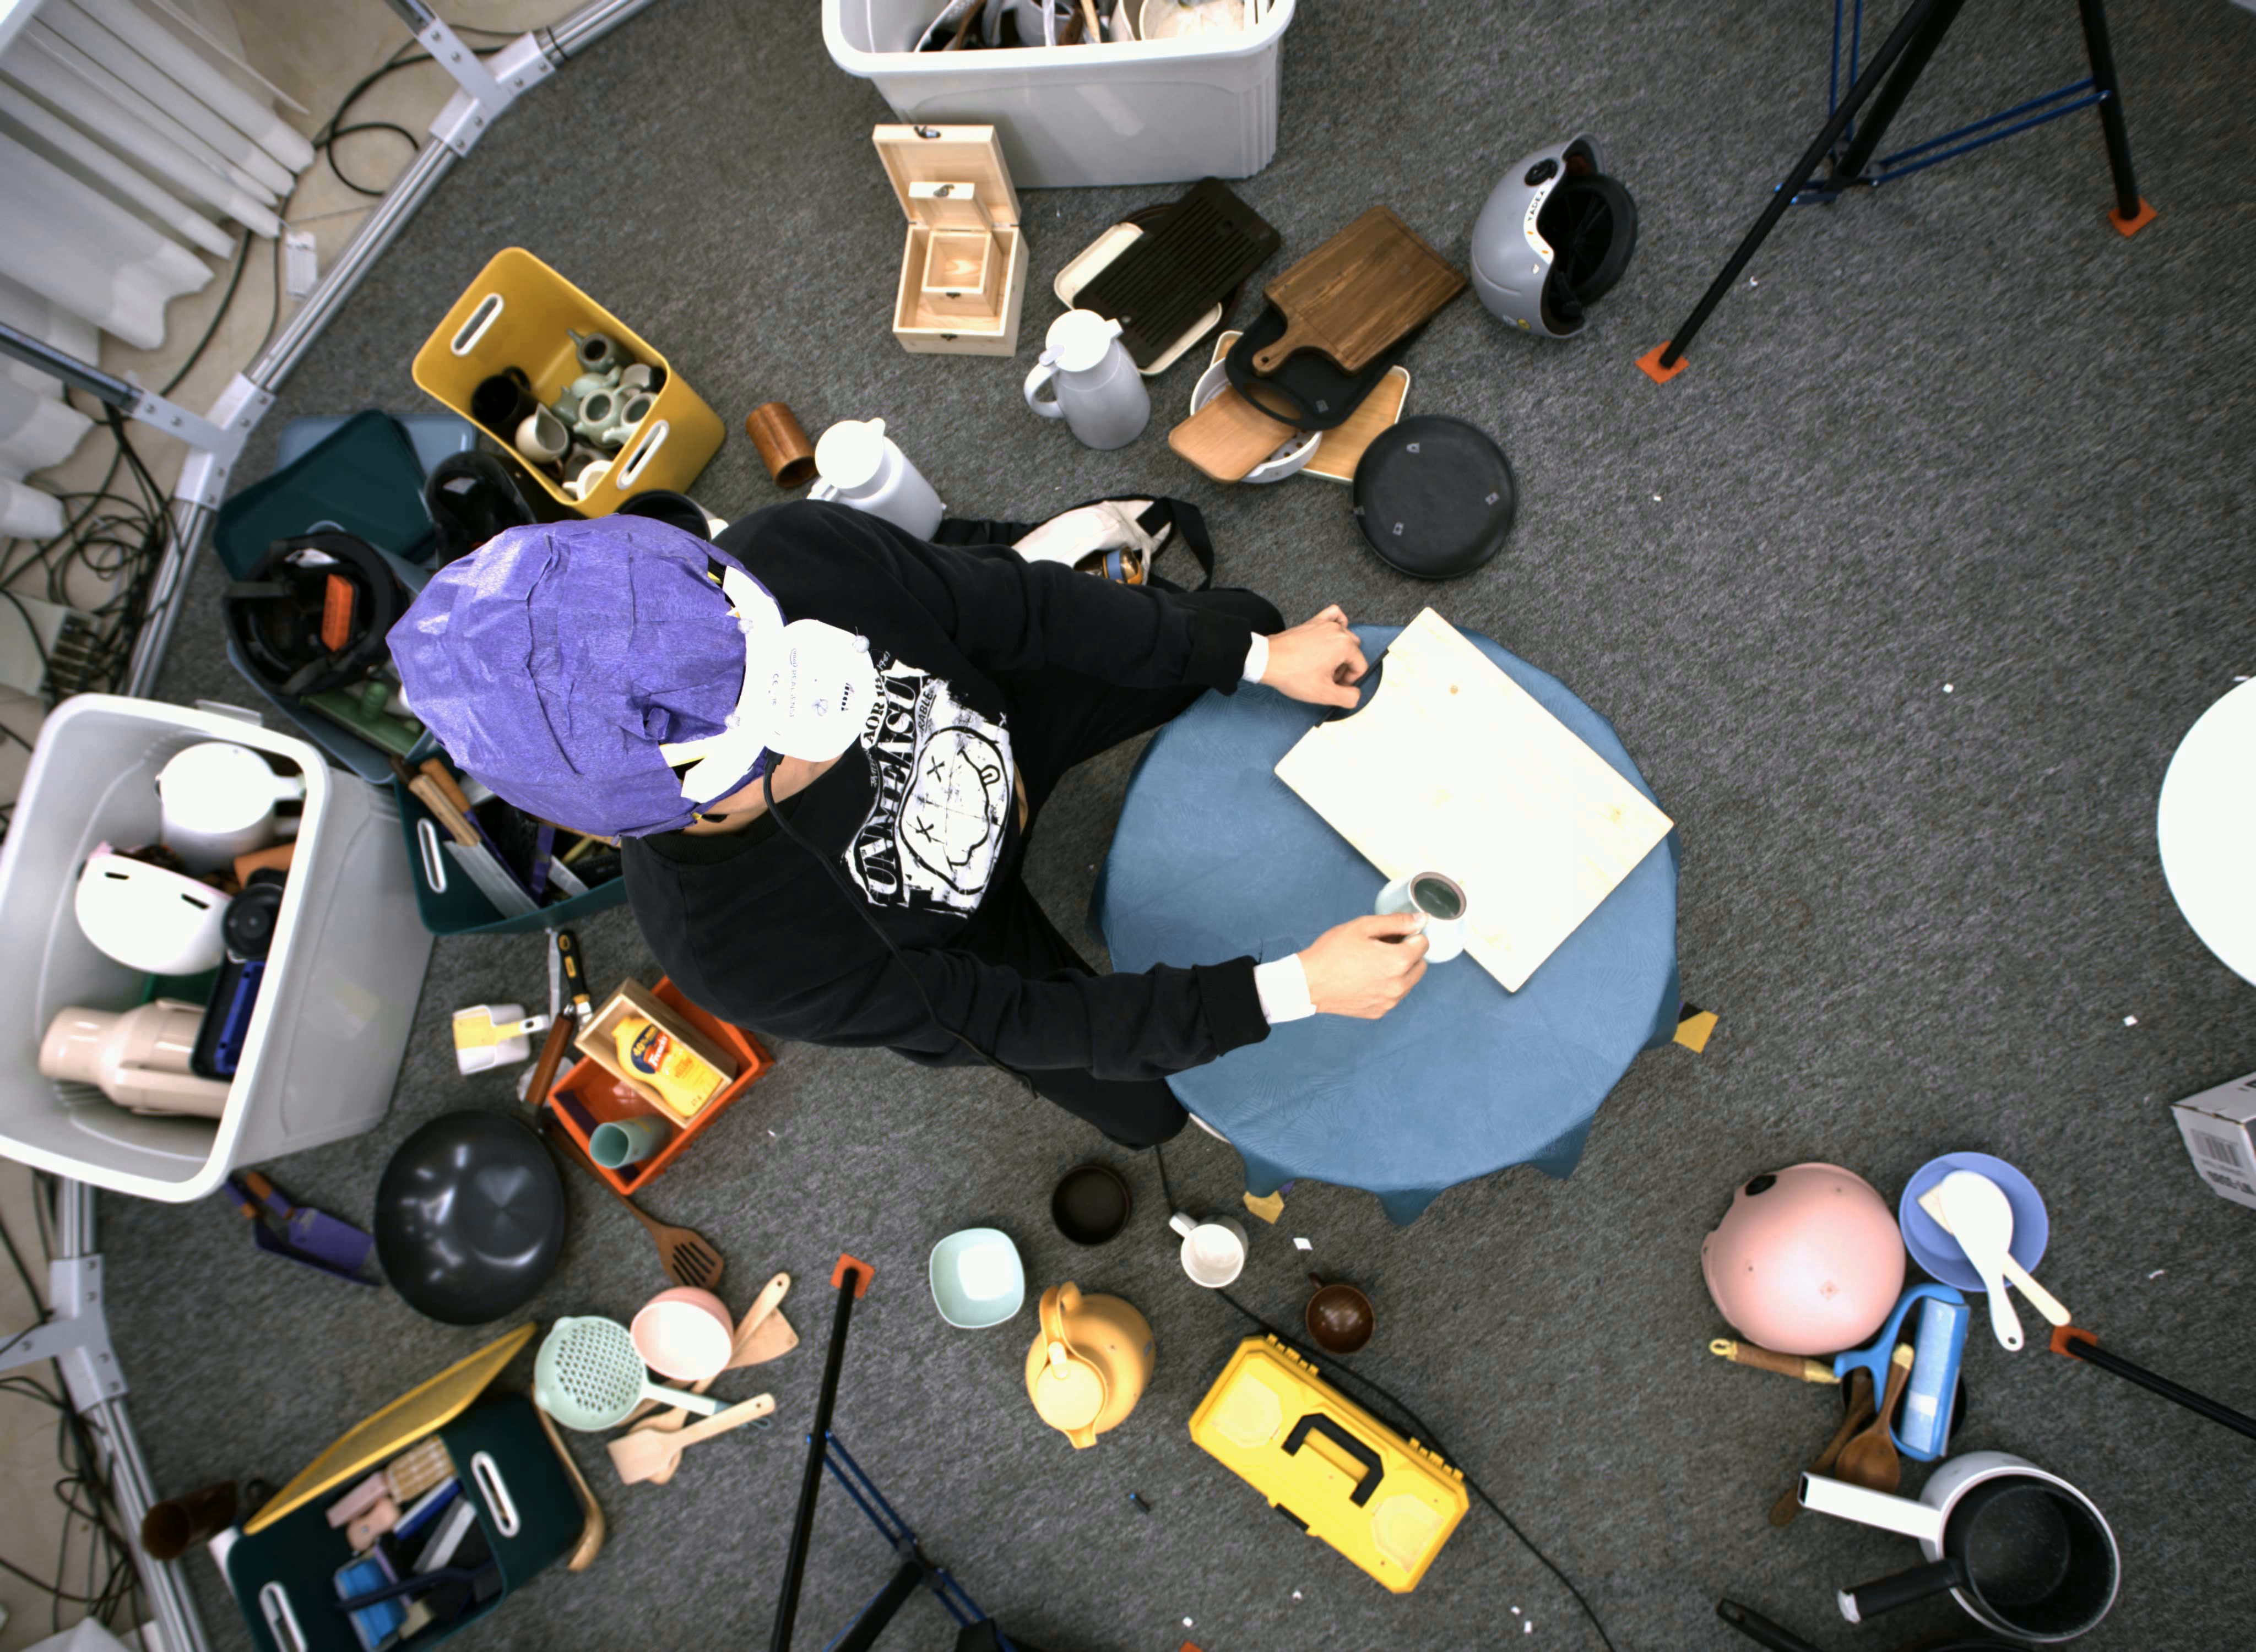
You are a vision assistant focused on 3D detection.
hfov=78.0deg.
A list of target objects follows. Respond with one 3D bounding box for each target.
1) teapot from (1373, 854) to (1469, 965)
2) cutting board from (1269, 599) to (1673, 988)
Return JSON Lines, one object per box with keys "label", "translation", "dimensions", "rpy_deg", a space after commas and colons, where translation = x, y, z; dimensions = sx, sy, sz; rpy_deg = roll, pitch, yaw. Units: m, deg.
{"label": "teapot", "translation": [0.284, 0.085, 1.320], "dimensions": [0.096, 0.063, 0.133], "rpy_deg": [33, 50, 9]}
{"label": "cutting board", "translation": [0.354, -0.036, 1.437], "dimensions": [0.347, 0.023, 0.252], "rpy_deg": [43, 95, 8]}
